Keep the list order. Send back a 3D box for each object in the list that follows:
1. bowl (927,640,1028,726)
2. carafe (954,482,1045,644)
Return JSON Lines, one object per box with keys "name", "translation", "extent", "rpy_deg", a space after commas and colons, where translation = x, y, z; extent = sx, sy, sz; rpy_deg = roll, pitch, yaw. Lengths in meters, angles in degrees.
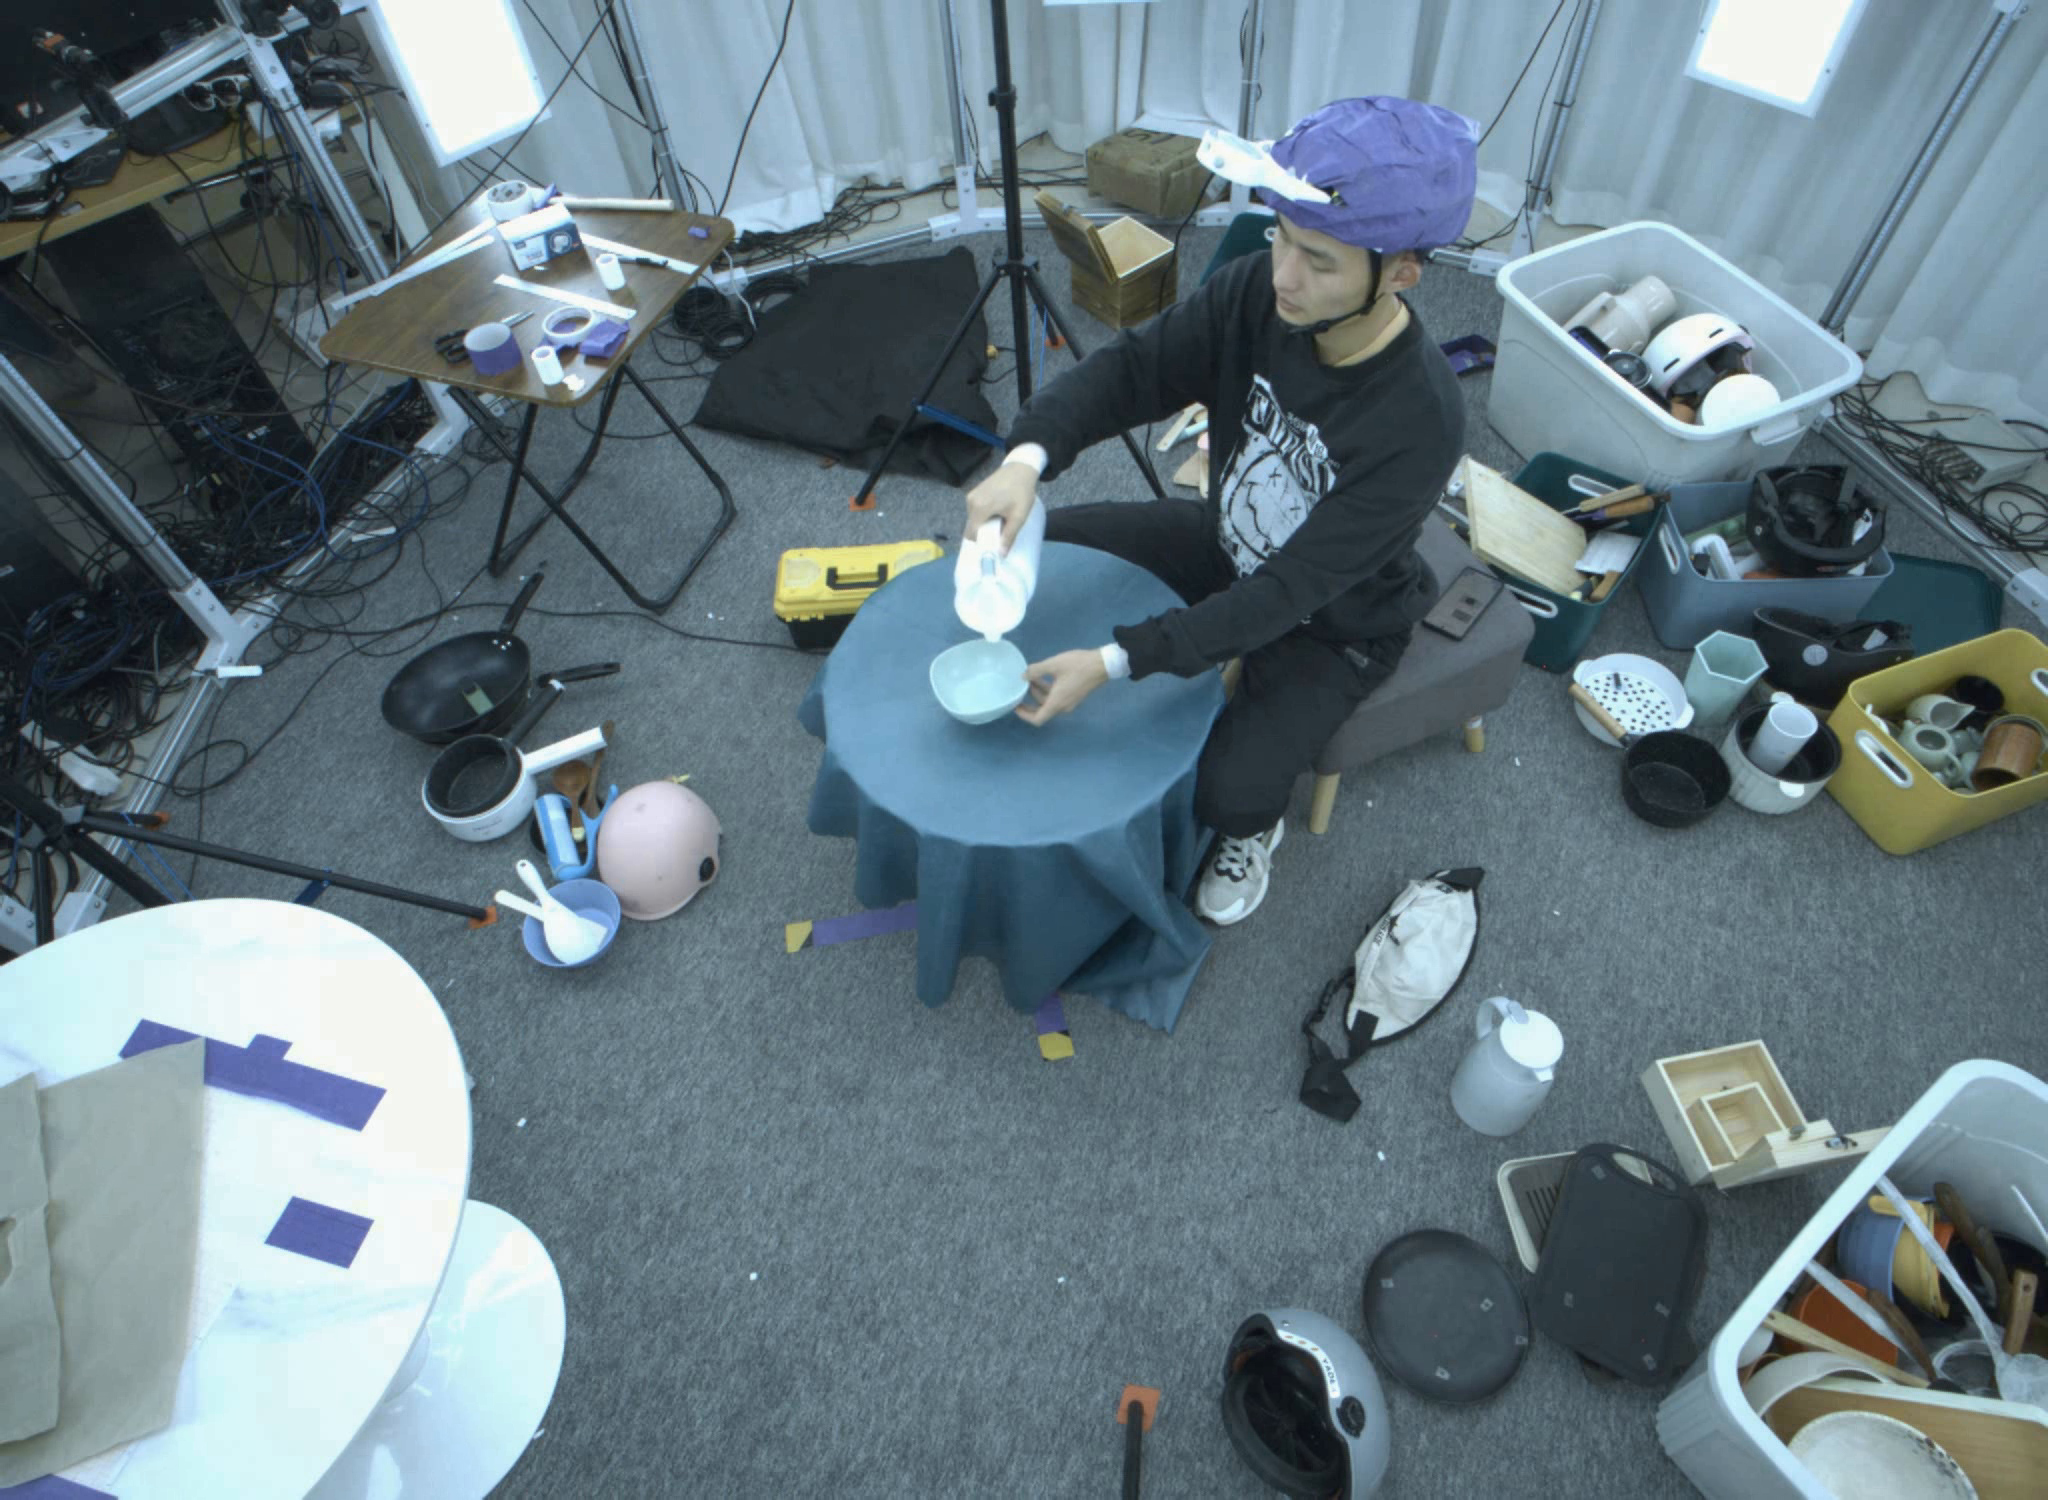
{"name": "bowl", "translation": [-0.066, -0.089, 1.782], "extent": [0.151, 0.059, 0.150], "rpy_deg": [1, 50, 0]}
{"name": "carafe", "translation": [-0.040, -0.296, 1.777], "extent": [0.123, 0.175, 0.267], "rpy_deg": [1, 39, 7]}
